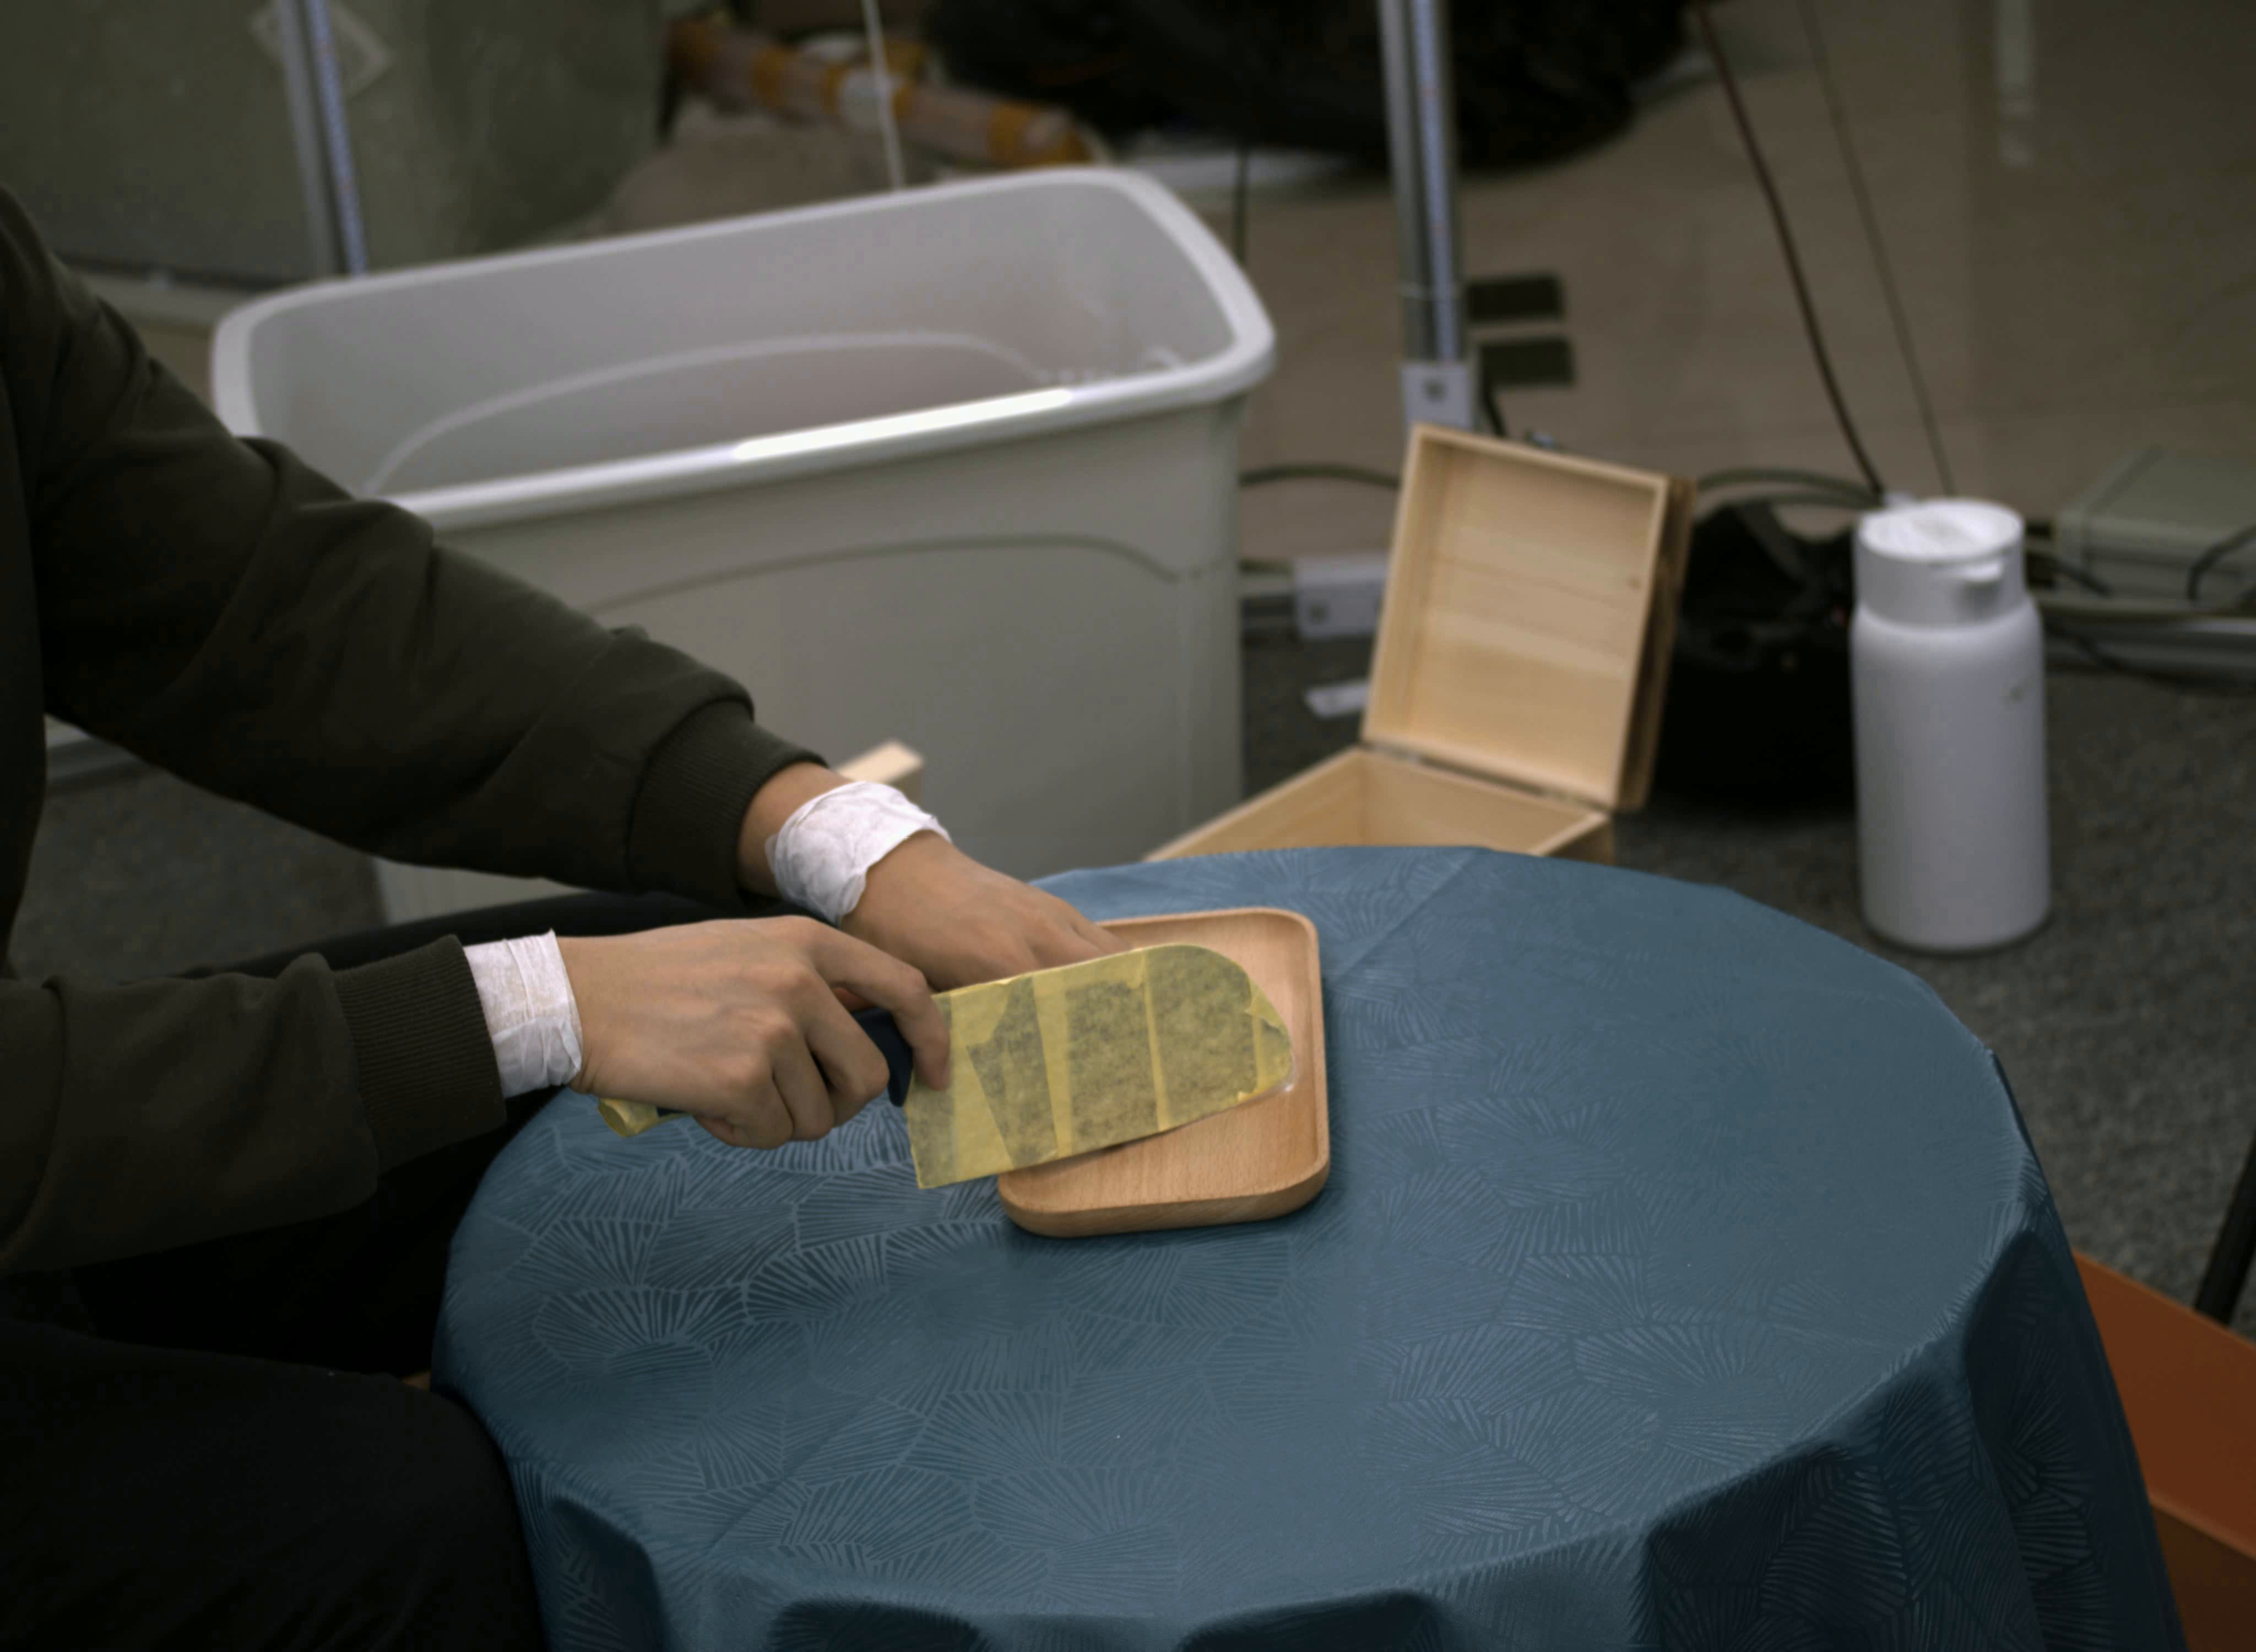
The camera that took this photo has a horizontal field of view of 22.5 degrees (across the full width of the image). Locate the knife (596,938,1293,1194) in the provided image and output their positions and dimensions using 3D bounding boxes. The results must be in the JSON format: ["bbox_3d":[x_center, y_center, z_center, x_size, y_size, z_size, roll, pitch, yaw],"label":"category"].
[{"bbox_3d":[-0.064,0.096,2.130,0.288,0.081,0.027,-9,9,-26],"label":"knife"}]

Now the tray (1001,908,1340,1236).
[{"bbox_3d":[0.017,0.094,2.224,0.130,0.023,0.247,-8,25,4],"label":"tray"}]
